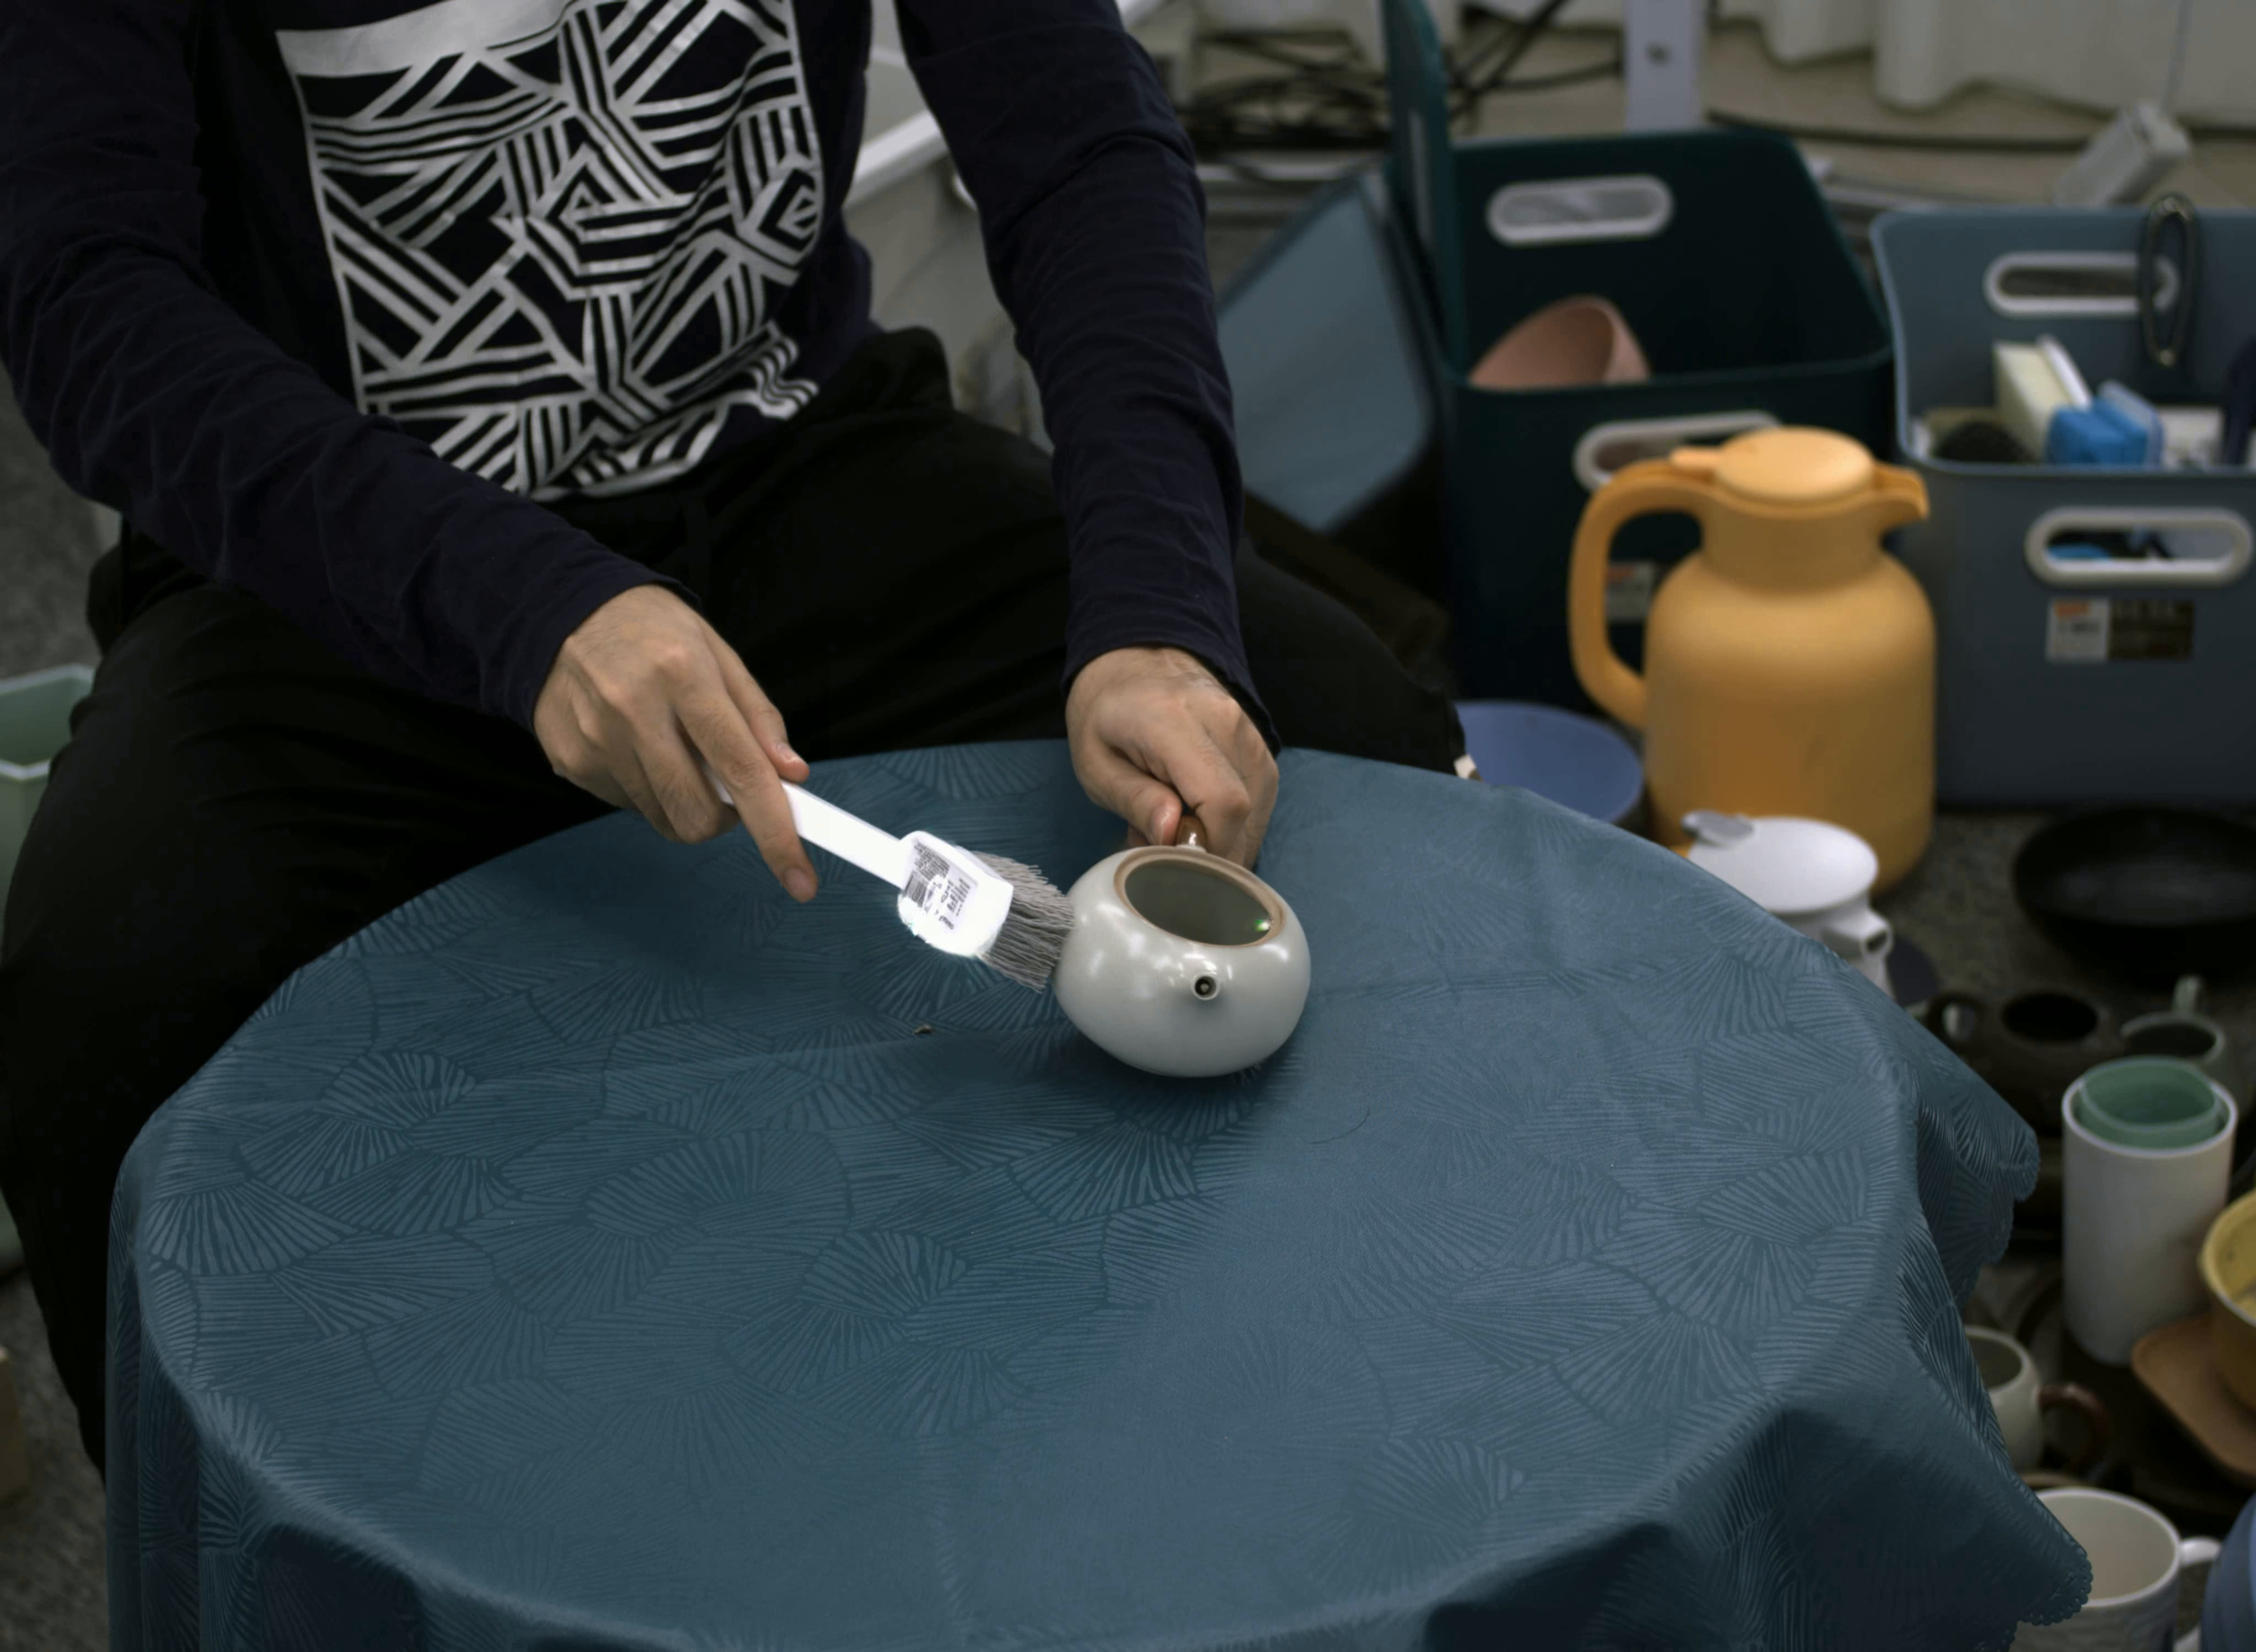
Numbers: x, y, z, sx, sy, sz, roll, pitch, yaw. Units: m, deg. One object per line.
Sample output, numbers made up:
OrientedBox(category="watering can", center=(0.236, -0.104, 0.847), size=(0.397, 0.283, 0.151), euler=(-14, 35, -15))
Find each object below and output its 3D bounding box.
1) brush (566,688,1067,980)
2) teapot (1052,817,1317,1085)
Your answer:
OrientedBox(category="brush", center=(-0.109, 0.000, 1.977), size=(0.050, 0.034, 0.243), euler=(12, 10, -46))
OrientedBox(category="teapot", center=(0.019, 0.044, 1.931), size=(0.091, 0.059, 0.130), euler=(9, 30, -10))
